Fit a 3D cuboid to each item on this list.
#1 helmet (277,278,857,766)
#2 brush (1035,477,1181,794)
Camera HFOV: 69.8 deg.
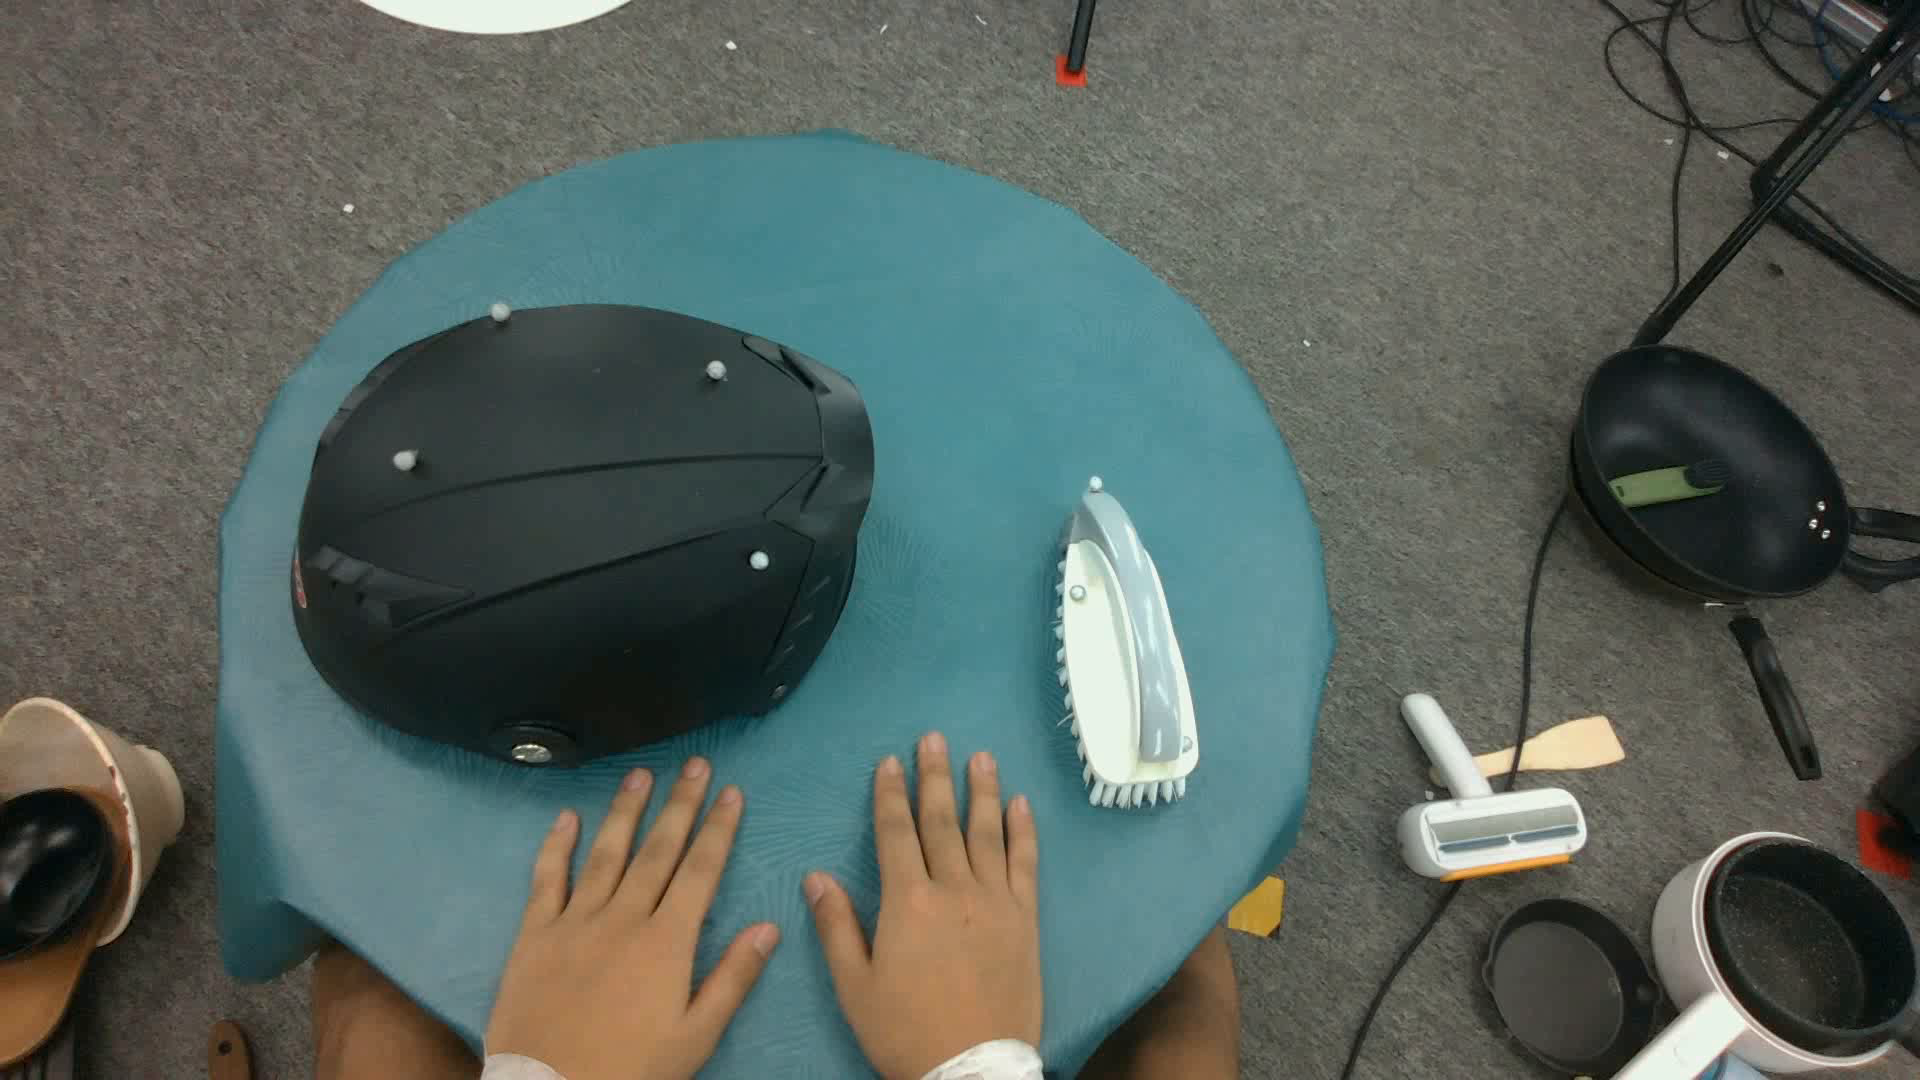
[{"bbox_3d":[-0.190,-0.027,0.666,0.277,0.171,0.247,-2,61,-15],"label":"helmet"},{"bbox_3d":[0.075,0.035,0.715,0.061,0.094,0.176,-3,60,-12],"label":"brush"}]
